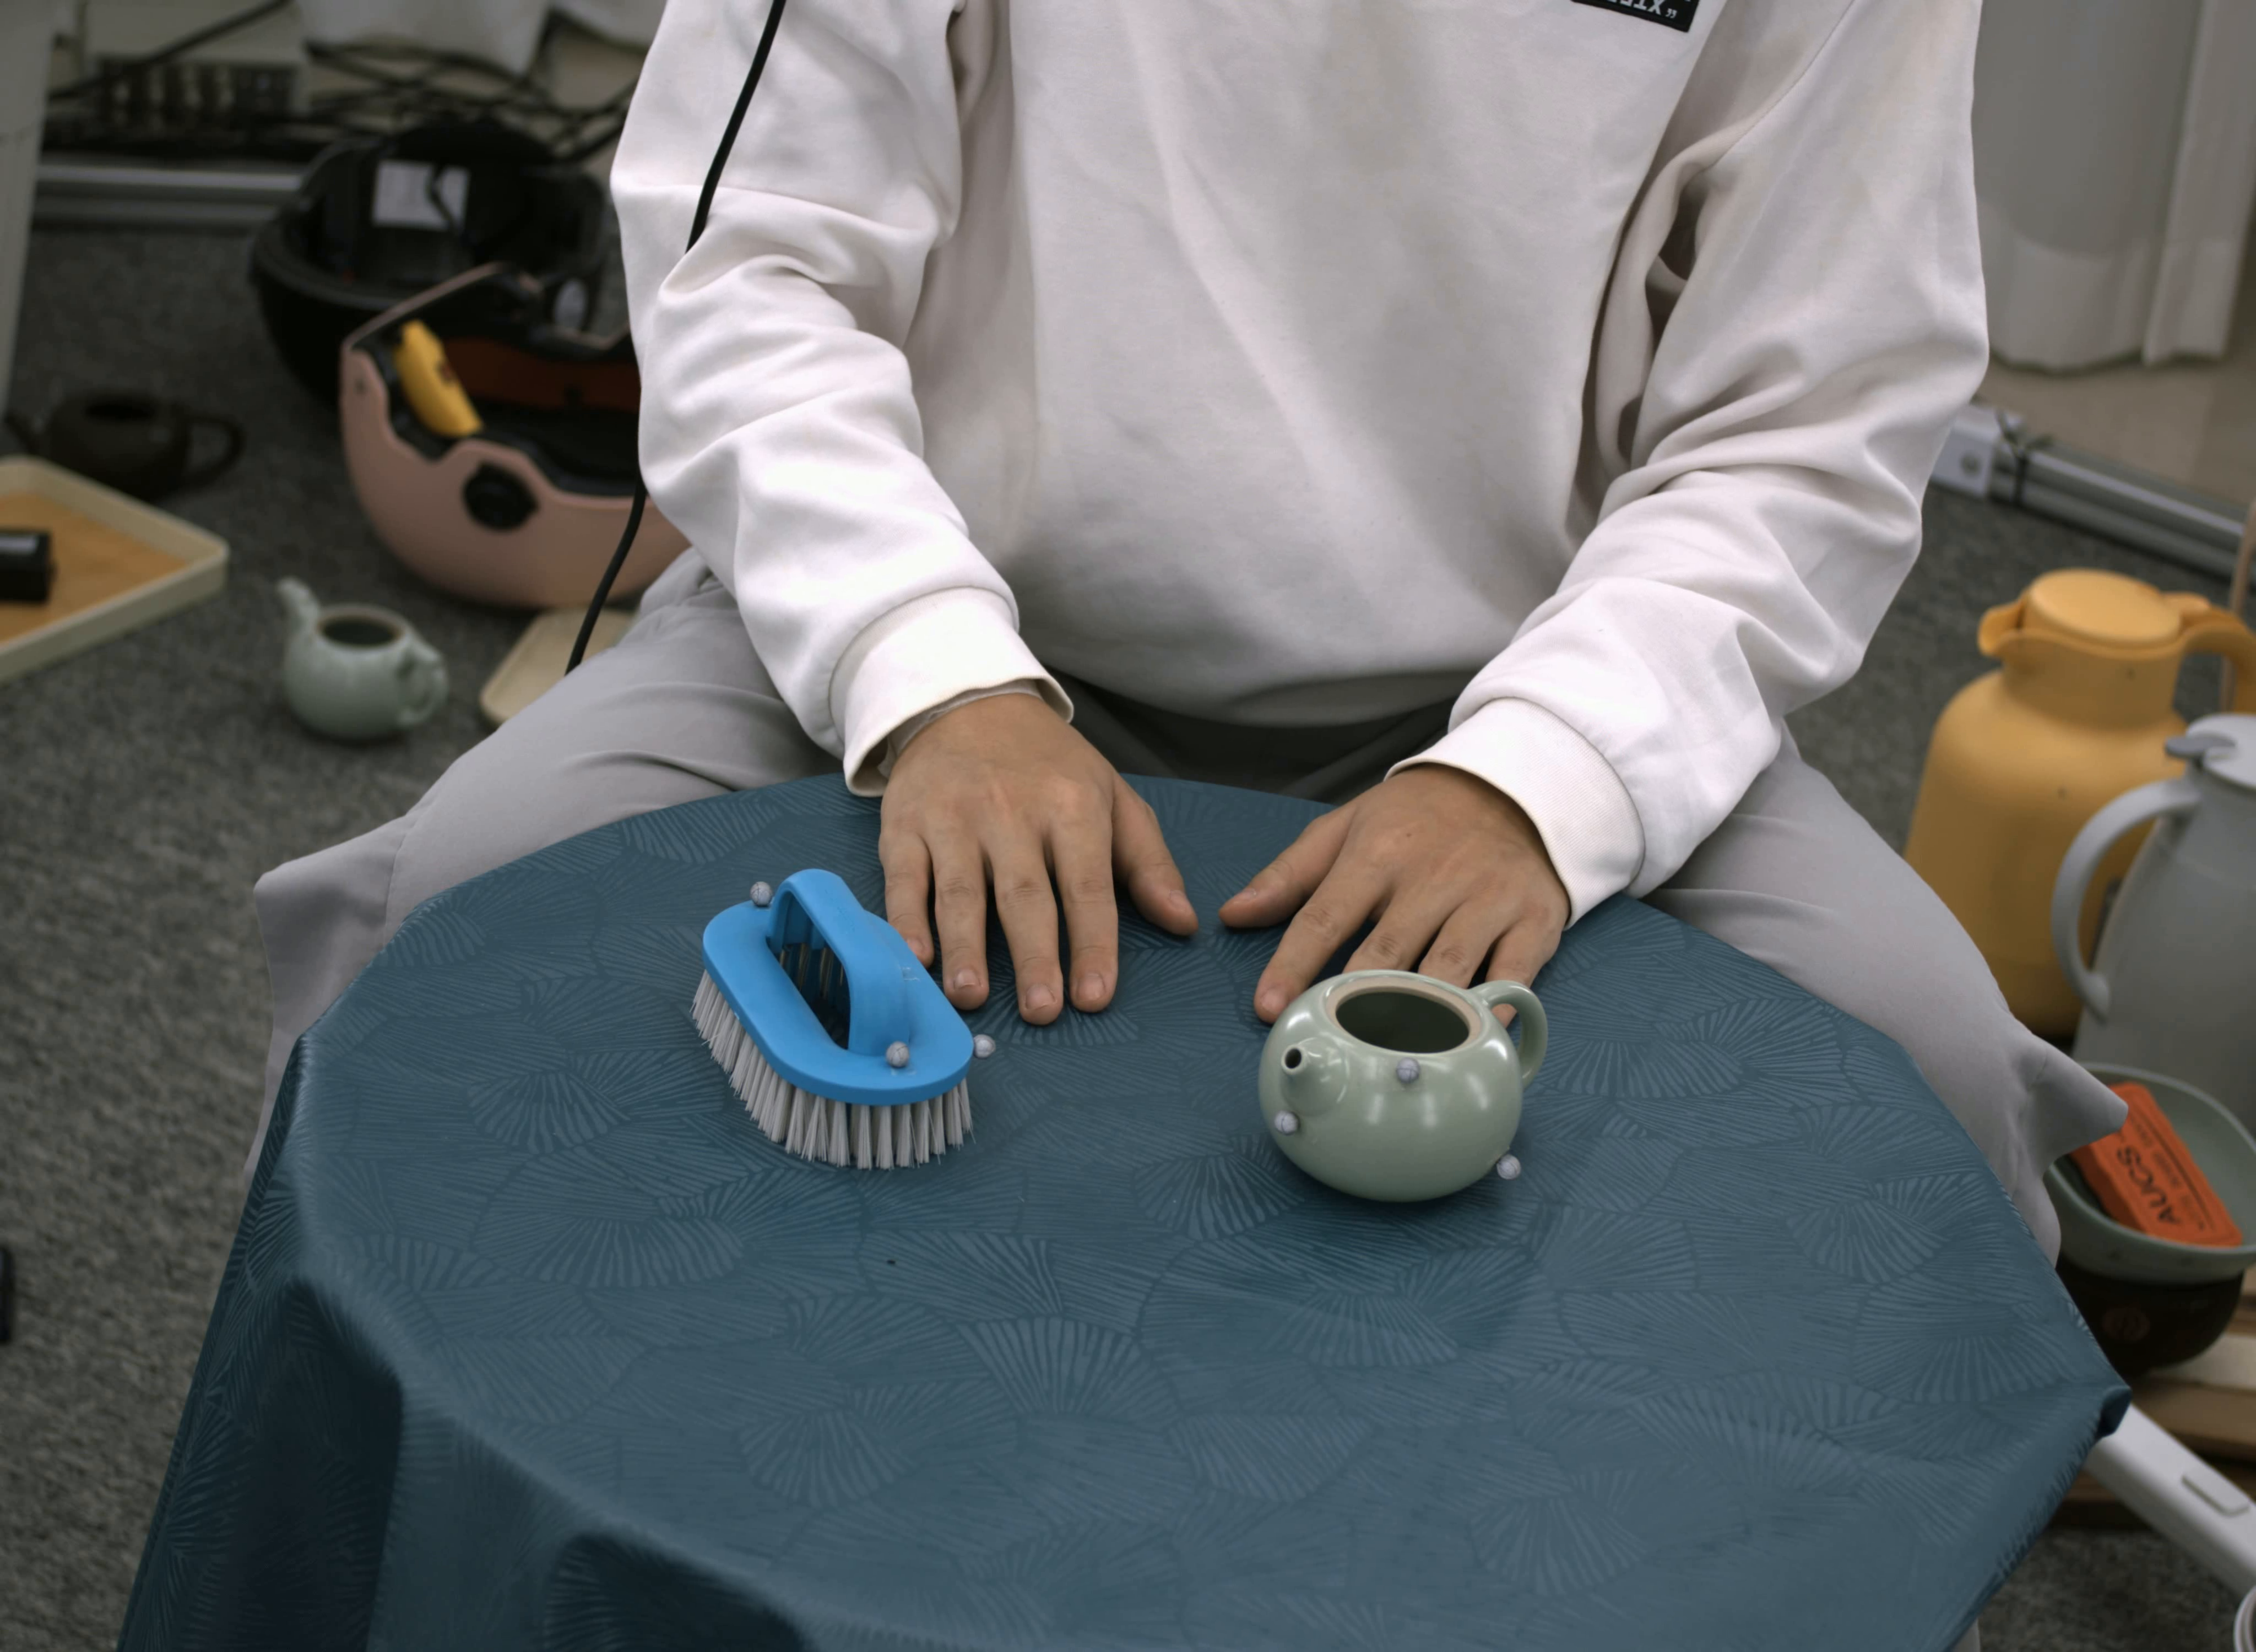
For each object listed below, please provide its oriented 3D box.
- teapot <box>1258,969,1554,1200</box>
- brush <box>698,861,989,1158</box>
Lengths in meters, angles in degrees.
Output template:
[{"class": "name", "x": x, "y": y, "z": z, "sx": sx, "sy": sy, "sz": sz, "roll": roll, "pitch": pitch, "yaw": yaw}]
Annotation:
[{"class": "teapot", "x": 0.098, "y": 0.088, "z": 1.835, "sx": 0.127, "sy": 0.061, "sz": 0.092, "roll": -12, "pitch": 30, "yaw": -35}, {"class": "brush", "x": -0.100, "y": 0.055, "z": 1.846, "sx": 0.084, "sy": 0.063, "sz": 0.143, "roll": -9, "pitch": 30, "yaw": -18}]
